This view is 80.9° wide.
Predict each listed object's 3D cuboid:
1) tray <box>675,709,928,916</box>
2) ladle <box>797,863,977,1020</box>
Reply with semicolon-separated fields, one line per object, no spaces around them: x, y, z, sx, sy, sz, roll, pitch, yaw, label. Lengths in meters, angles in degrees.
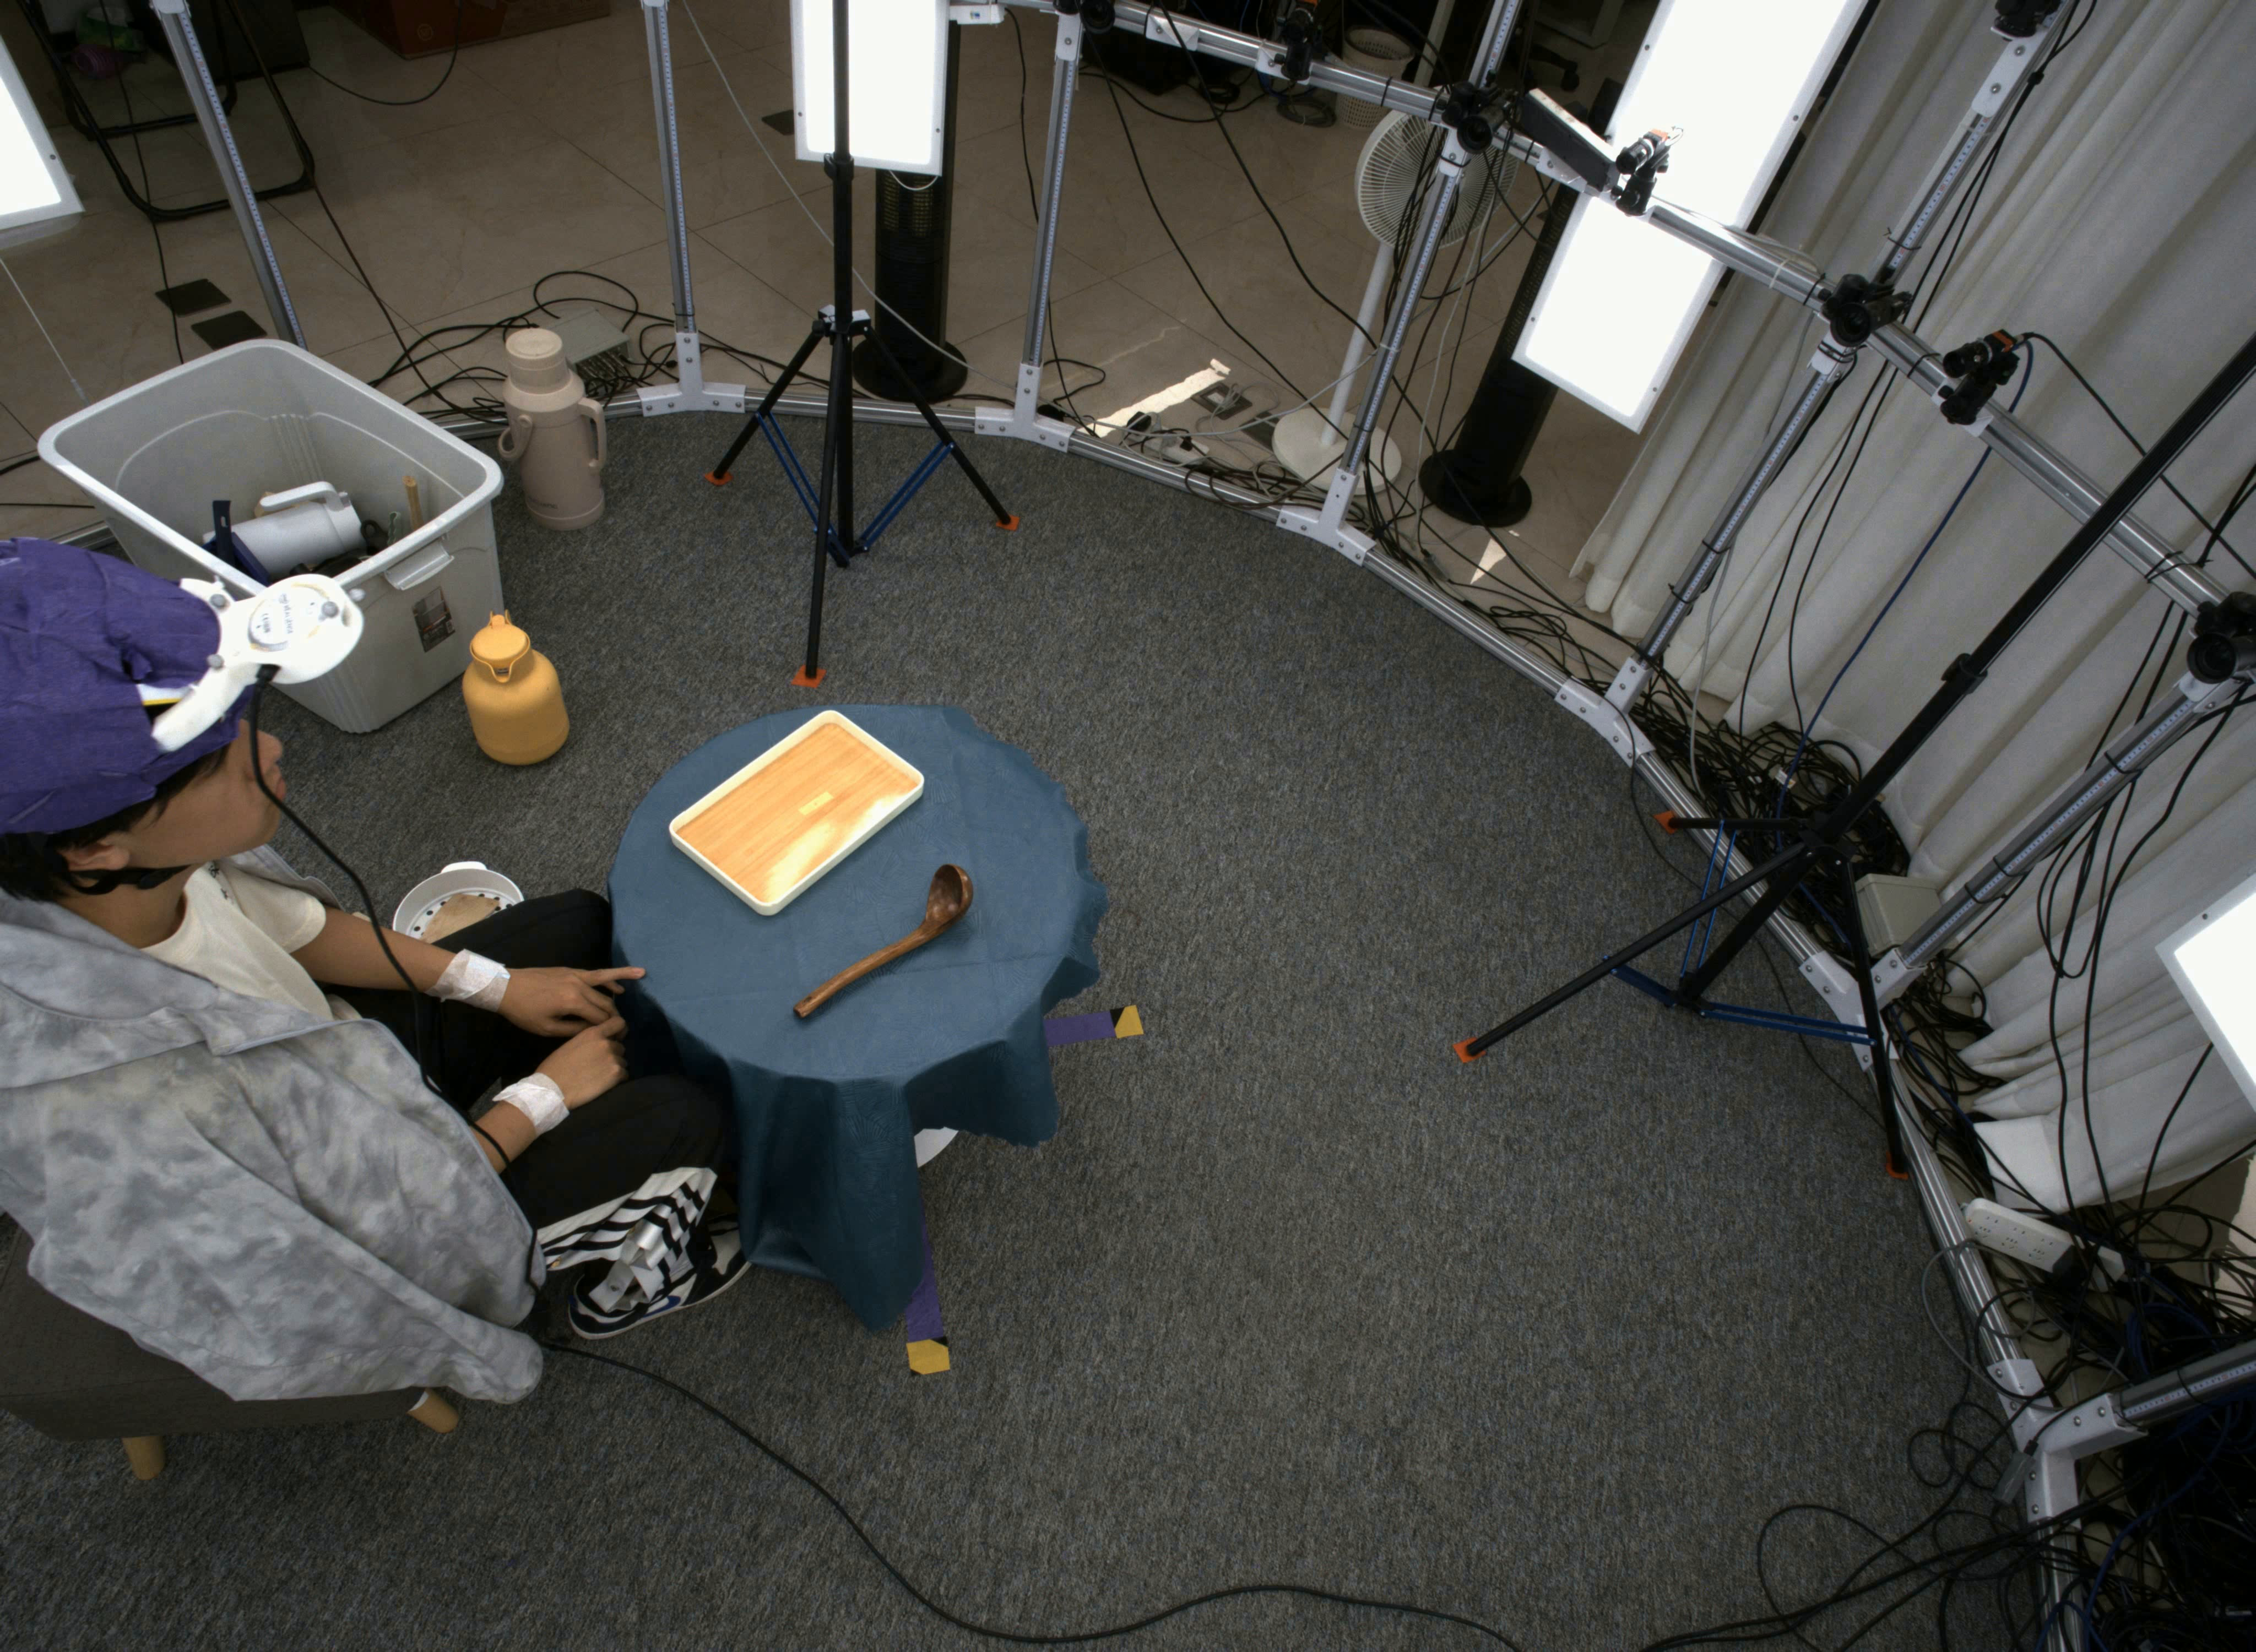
-0.430;-0.025;1.726;0.188;0.028;0.300;37;54;14;tray
-0.301;0.136;1.611;0.275;0.079;0.079;-31;23;-29;ladle
